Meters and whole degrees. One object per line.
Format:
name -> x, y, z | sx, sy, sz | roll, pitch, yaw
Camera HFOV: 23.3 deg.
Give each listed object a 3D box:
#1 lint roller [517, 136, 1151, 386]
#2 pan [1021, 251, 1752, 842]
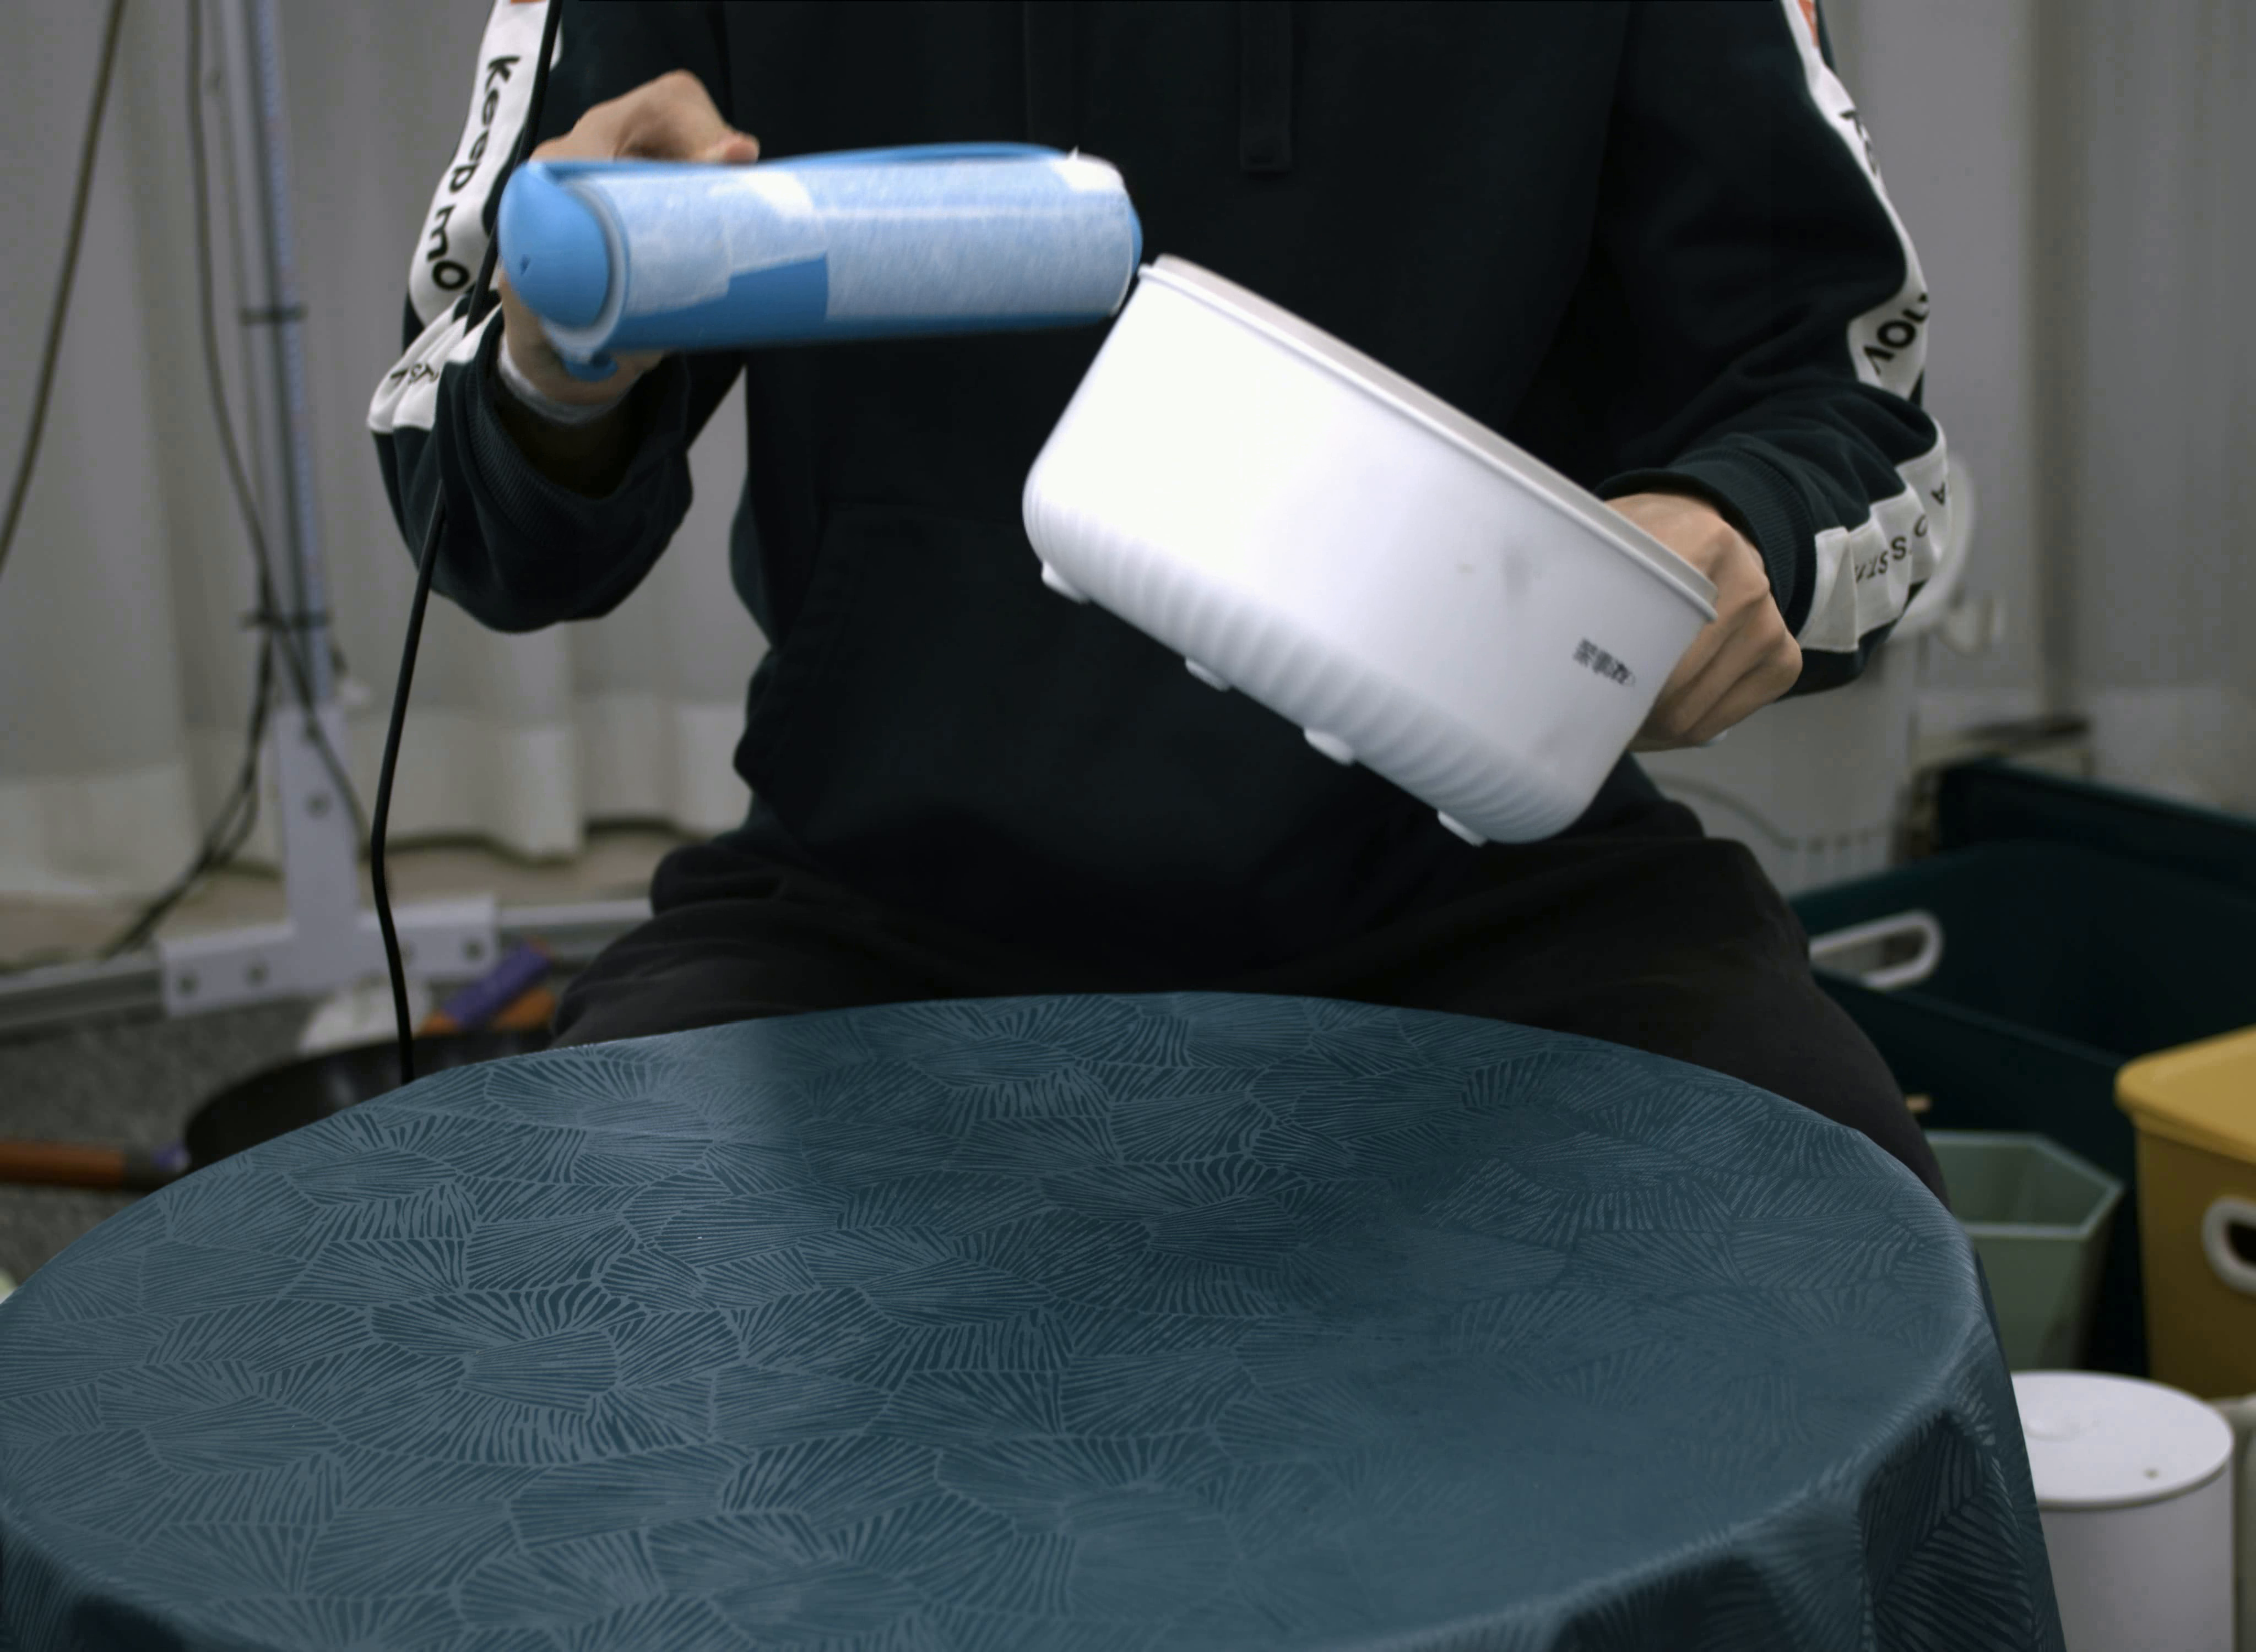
lint roller -> -0.125, -0.181, 1.738 | 0.228, 0.068, 0.180 | -9, 4, -41
pan -> 0.098, -0.058, 1.694 | 0.203, 0.102, 0.351 | 31, 0, 30
